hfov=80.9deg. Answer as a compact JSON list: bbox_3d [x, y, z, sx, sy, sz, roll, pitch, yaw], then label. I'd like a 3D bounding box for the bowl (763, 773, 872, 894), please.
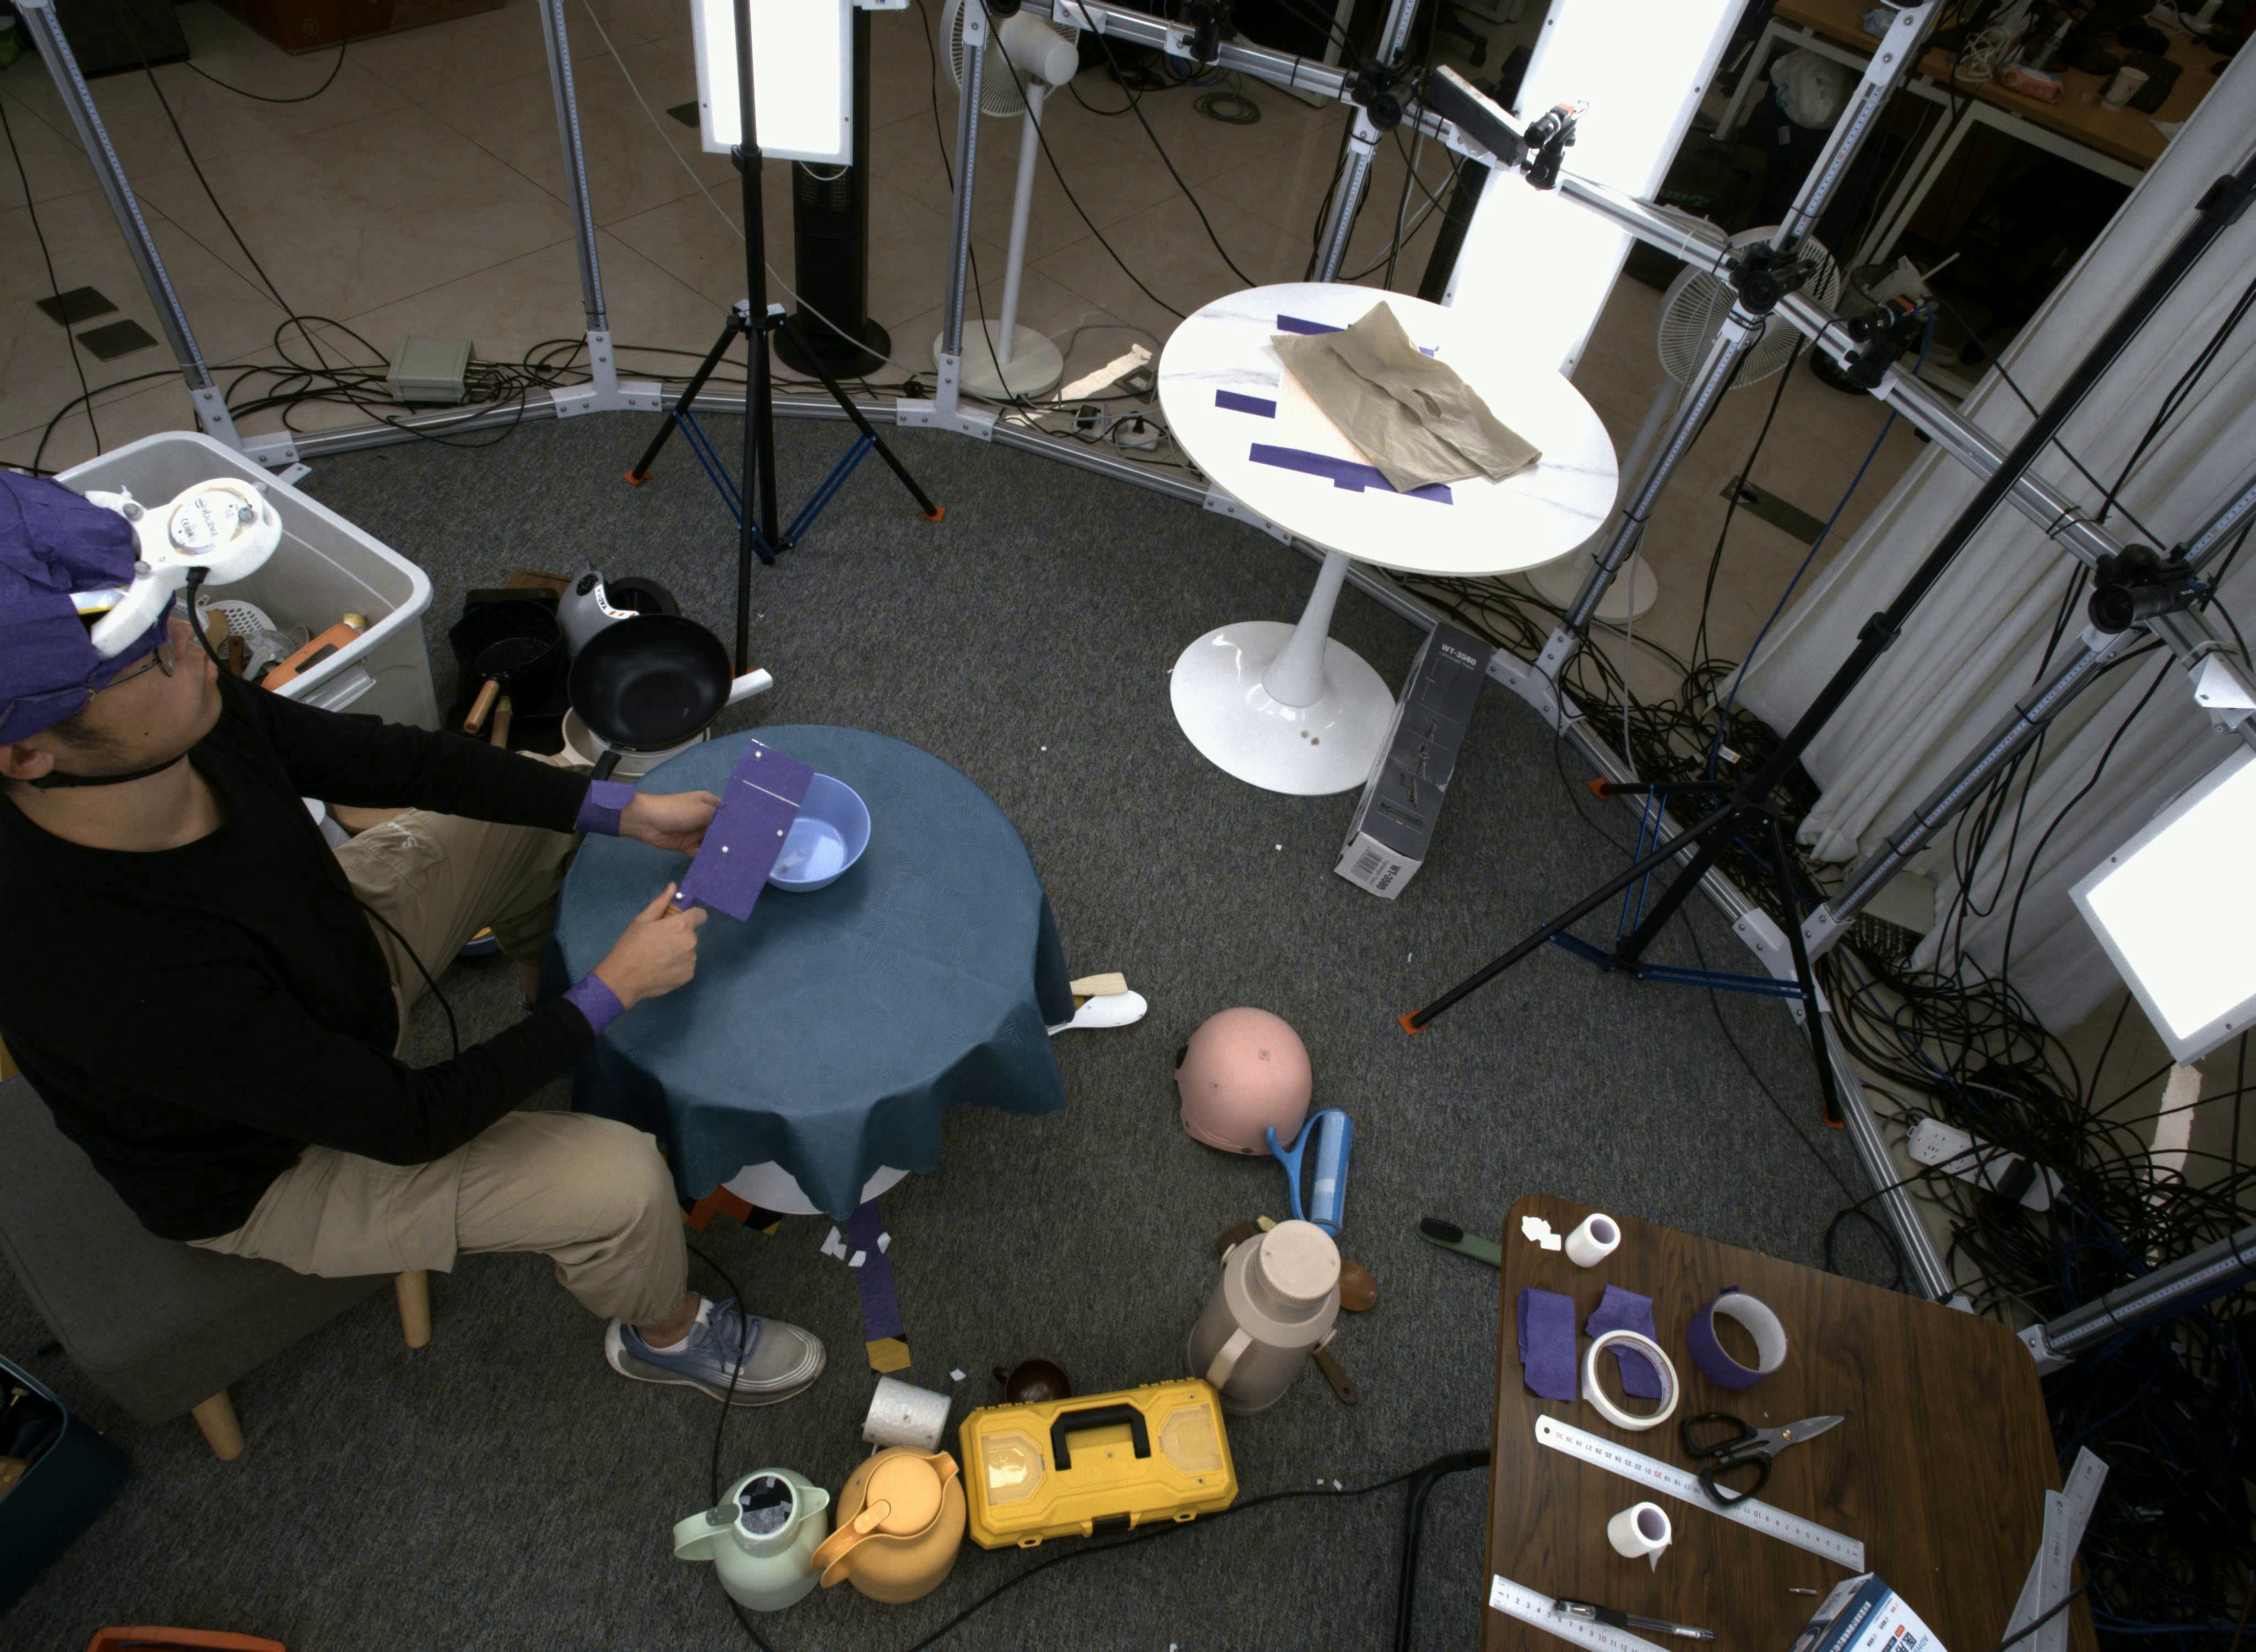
[{"bbox_3d":[-0.417,0.019,1.664,0.175,0.072,0.173,7,51,-7],"label":"bowl"}]

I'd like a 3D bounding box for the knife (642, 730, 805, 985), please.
[{"bbox_3d":[-0.474,0.047,1.535,0.106,0.031,0.316,28,75,-28],"label":"knife"}]
